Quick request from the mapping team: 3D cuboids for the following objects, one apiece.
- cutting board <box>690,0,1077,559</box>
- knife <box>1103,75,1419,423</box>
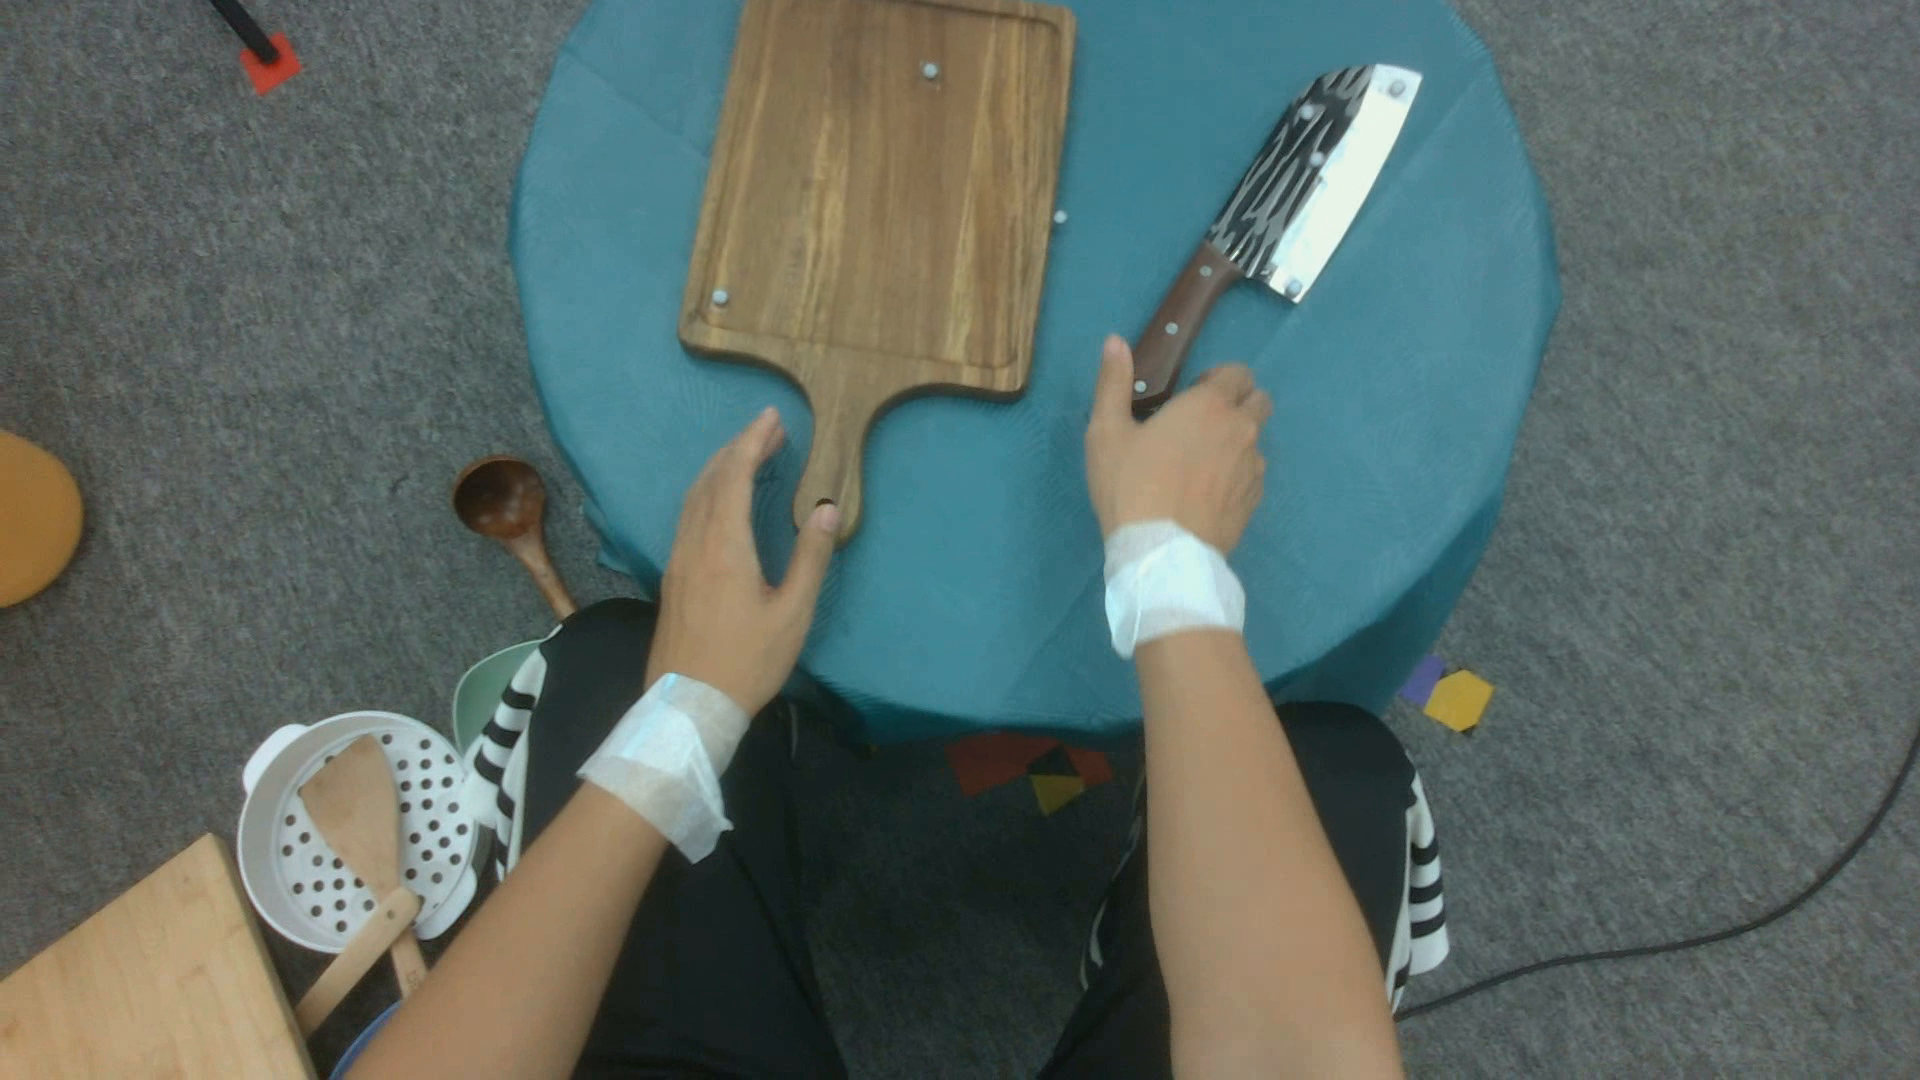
[{"bbox_3d":[-0.047,-0.160,0.795,0.201,0.023,0.353,8,75,1],"label":"cutting board"},{"bbox_3d":[0.182,-0.174,0.806,0.068,0.024,0.300,33,73,5],"label":"knife"}]
